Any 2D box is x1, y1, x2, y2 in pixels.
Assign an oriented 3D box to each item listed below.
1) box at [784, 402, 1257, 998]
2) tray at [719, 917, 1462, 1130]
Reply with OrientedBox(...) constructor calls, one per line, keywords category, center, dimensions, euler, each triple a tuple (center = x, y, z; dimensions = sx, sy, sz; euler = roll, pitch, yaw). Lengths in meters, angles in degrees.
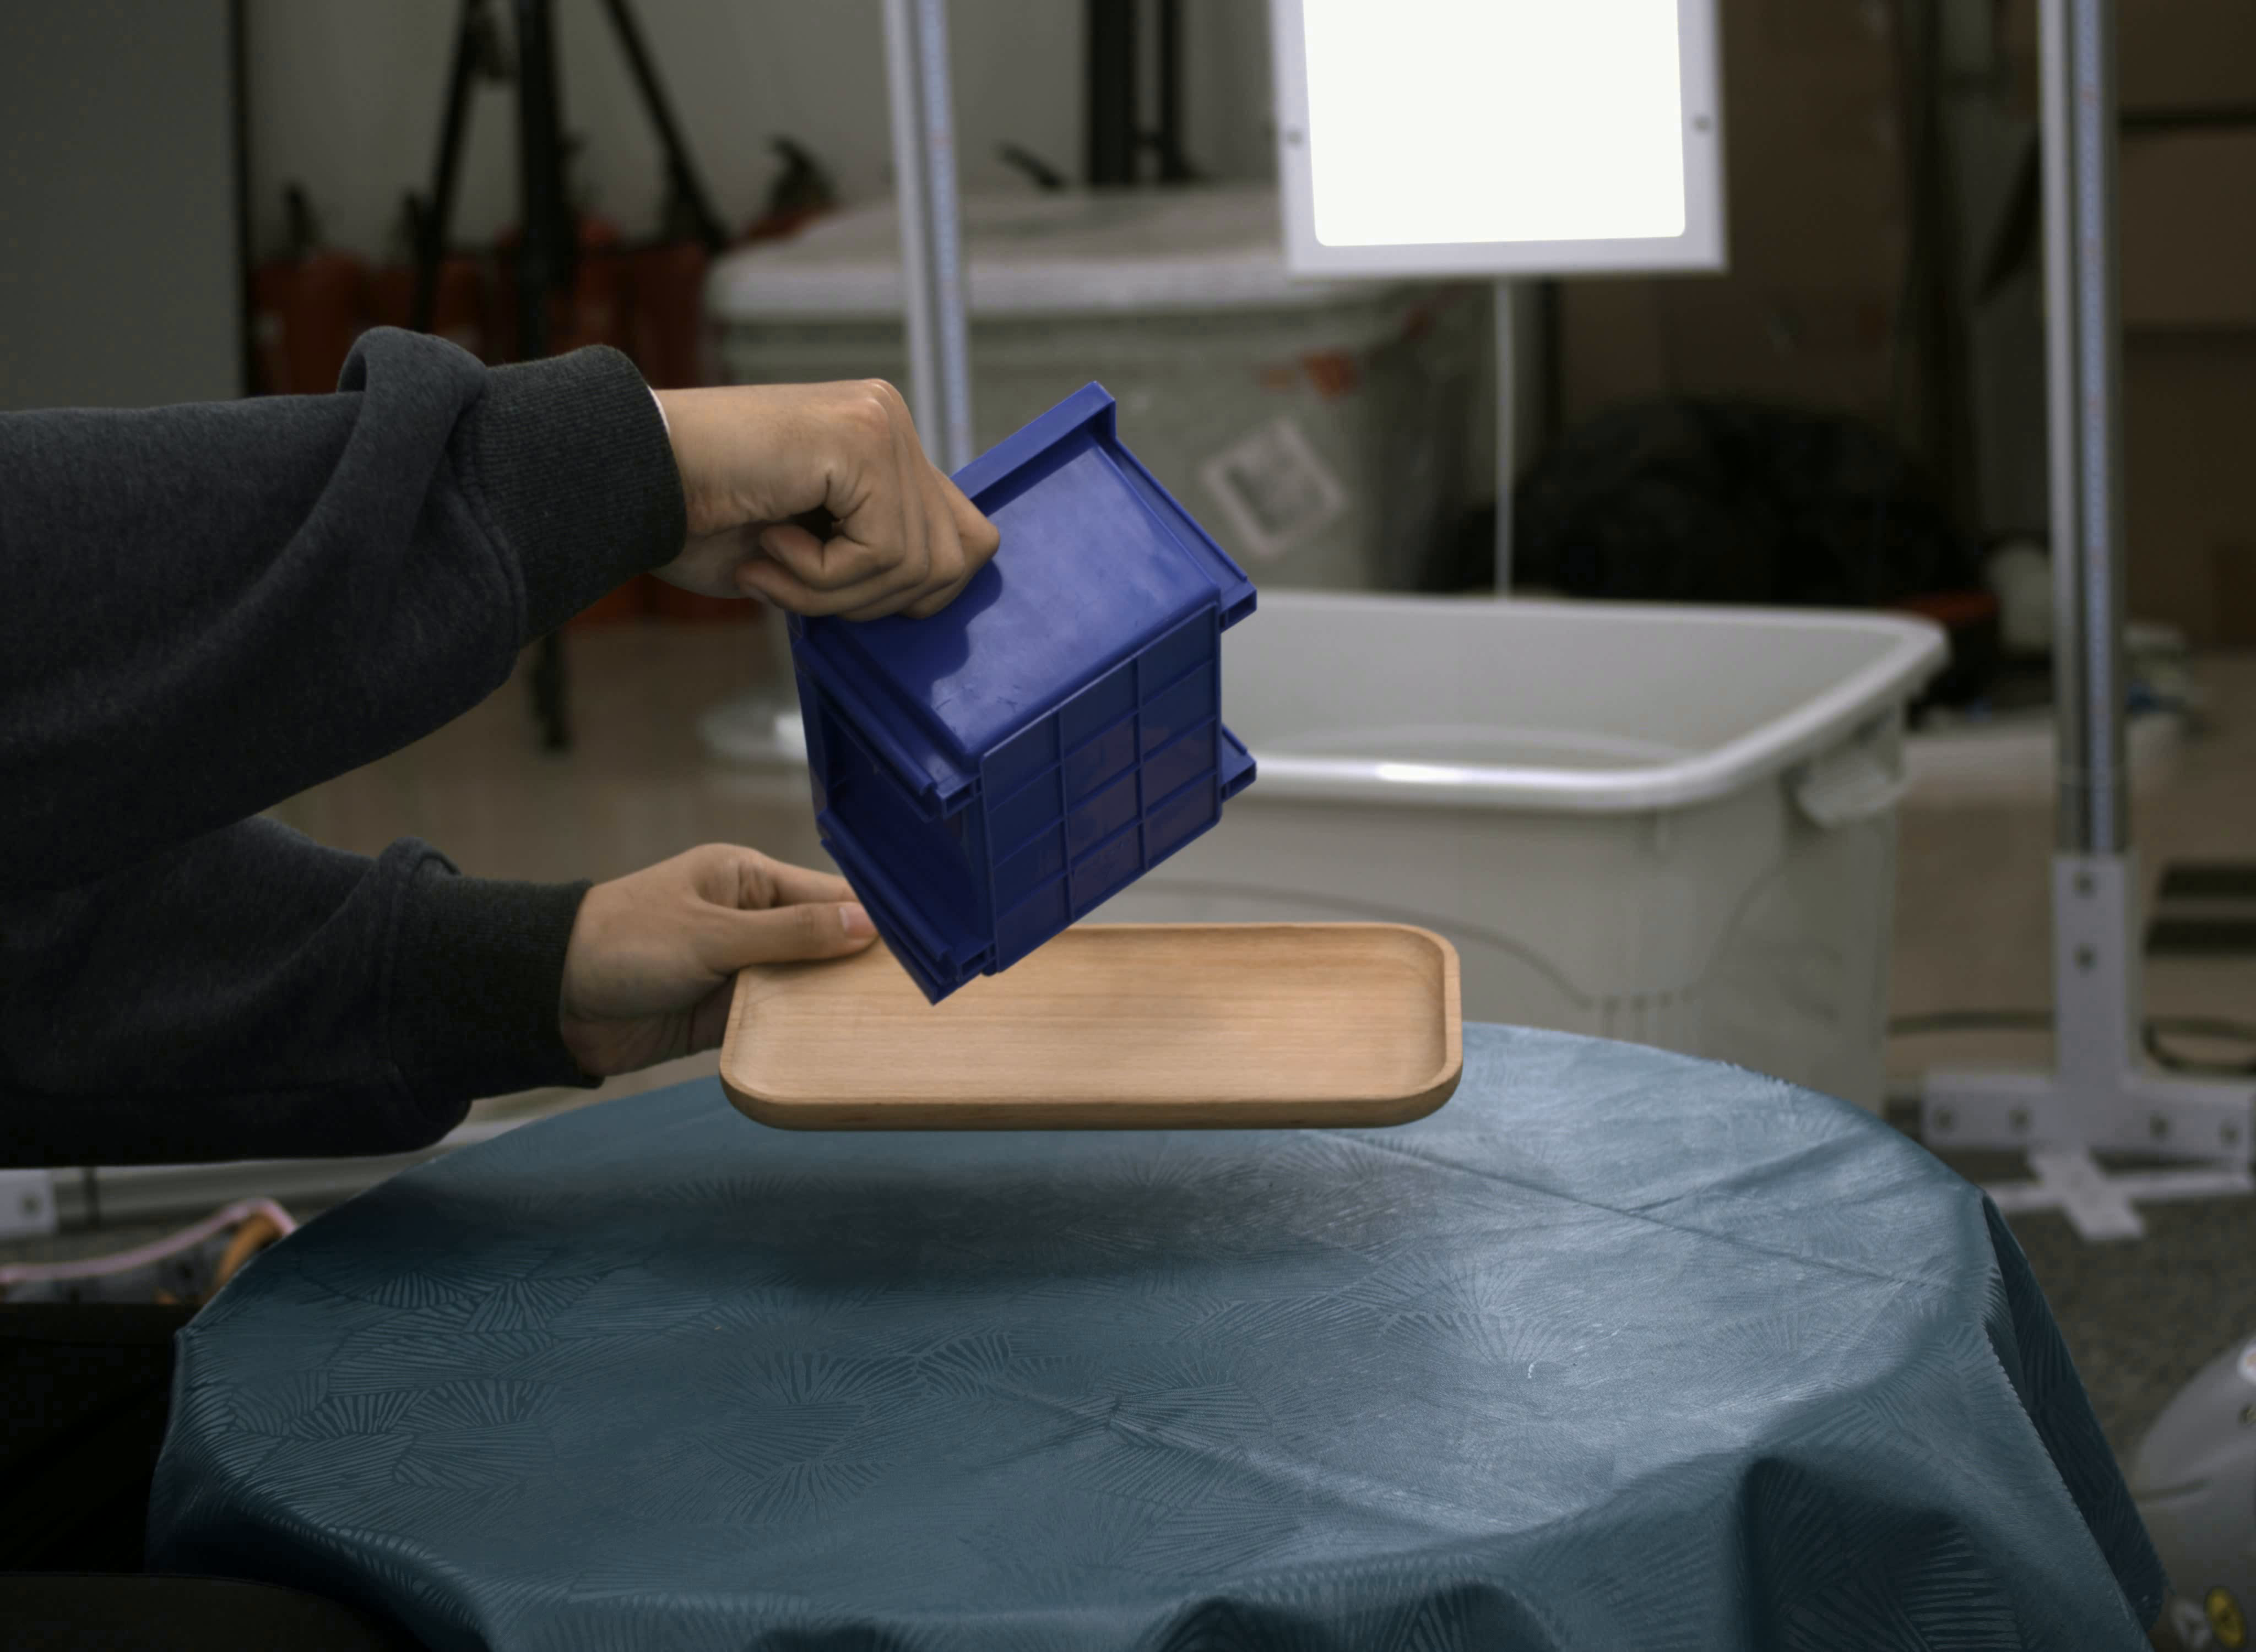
OrientedBox(category="box", center=(-0.032, -0.029, 1.731), dimensions=(0.123, 0.082, 0.180), euler=(-35, -21, -13))
OrientedBox(category="tray", center=(-0.011, 0.068, 1.874), dimensions=(0.251, 0.023, 0.130), euler=(-1, 24, 6))
